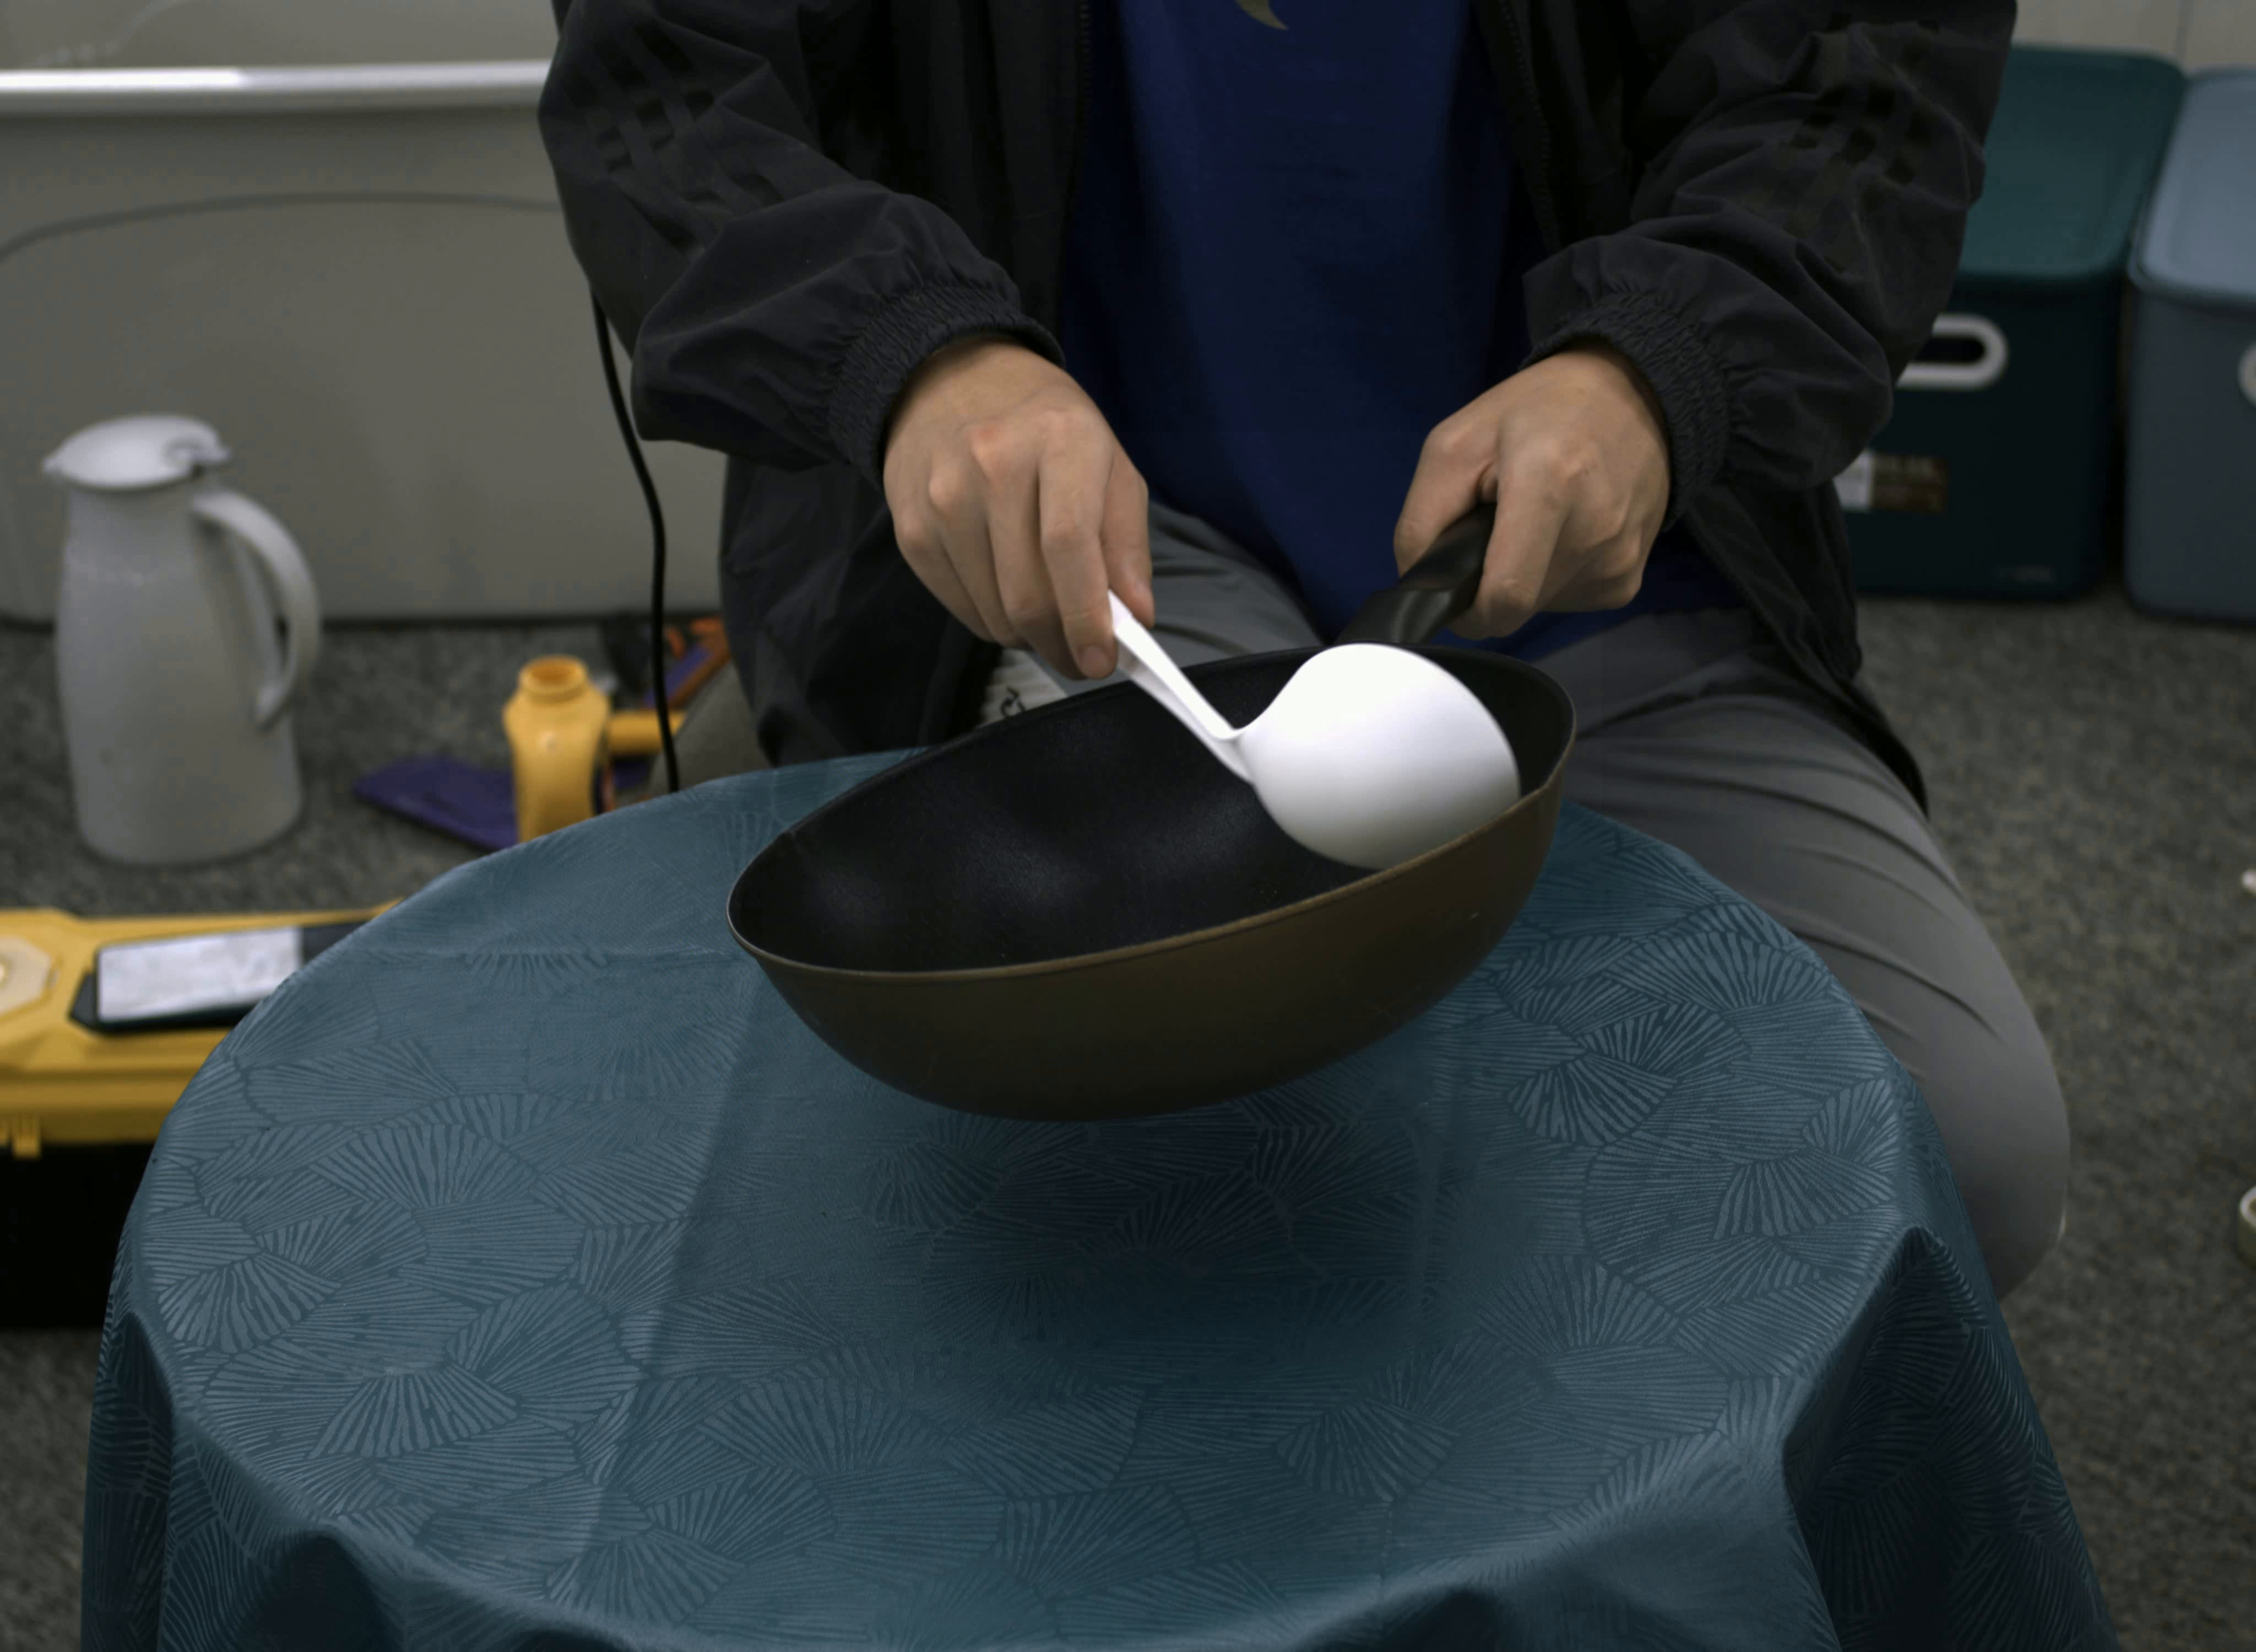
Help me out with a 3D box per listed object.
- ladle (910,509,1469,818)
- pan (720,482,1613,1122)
[{"bbox_3d":[0.011,-0.067,1.865,0.070,0.089,0.294,-39,29,-9],"label":"ladle"},{"bbox_3d":[0.057,-0.006,1.890,0.285,0.086,0.470,-3,20,31],"label":"pan"}]
